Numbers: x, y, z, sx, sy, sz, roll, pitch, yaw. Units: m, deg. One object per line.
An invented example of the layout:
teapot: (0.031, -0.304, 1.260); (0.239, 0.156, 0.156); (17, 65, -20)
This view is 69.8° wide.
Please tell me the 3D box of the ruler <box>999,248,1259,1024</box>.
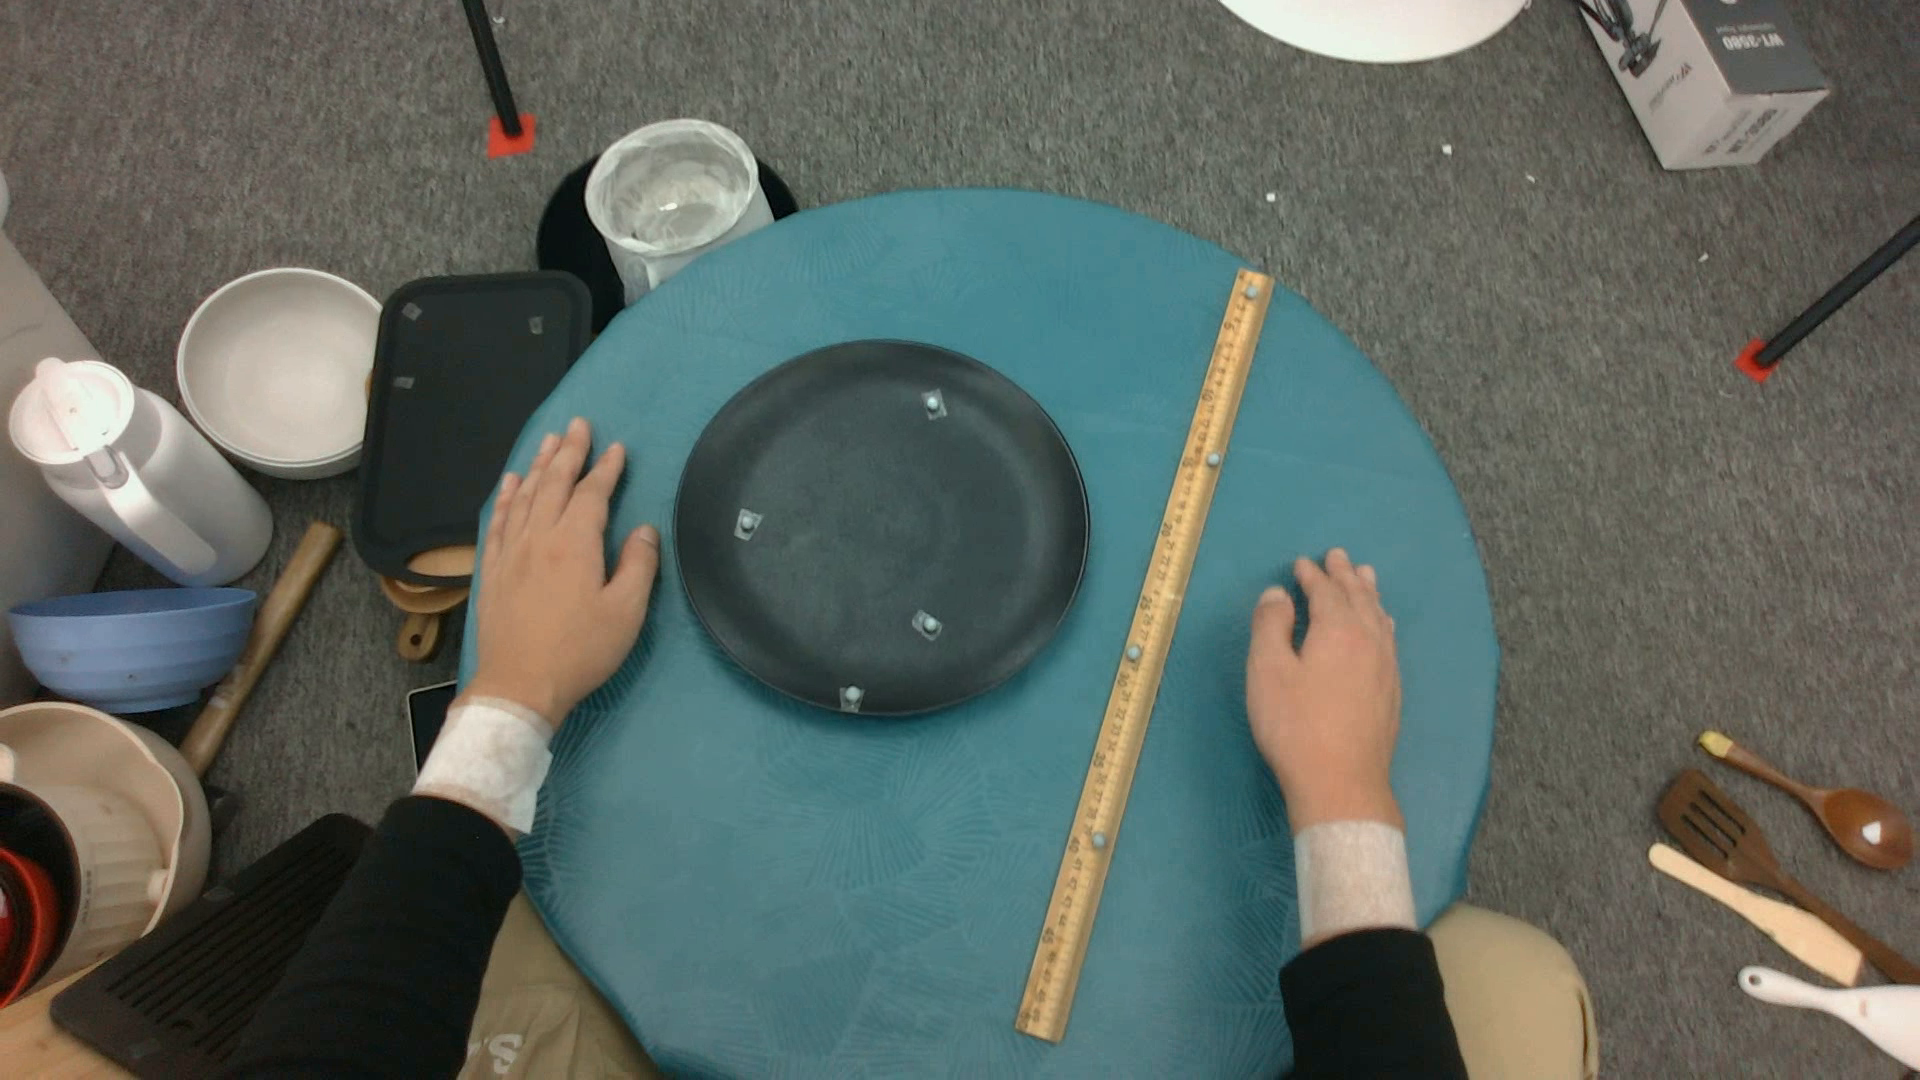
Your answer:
ruler: (0.107, 0.029, 0.808); (0.027, 0.006, 0.502); (18, 67, 5)

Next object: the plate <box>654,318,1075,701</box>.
plate: (-0.055, -0.021, 0.807); (0.244, 0.023, 0.245); (2, 67, -4)
